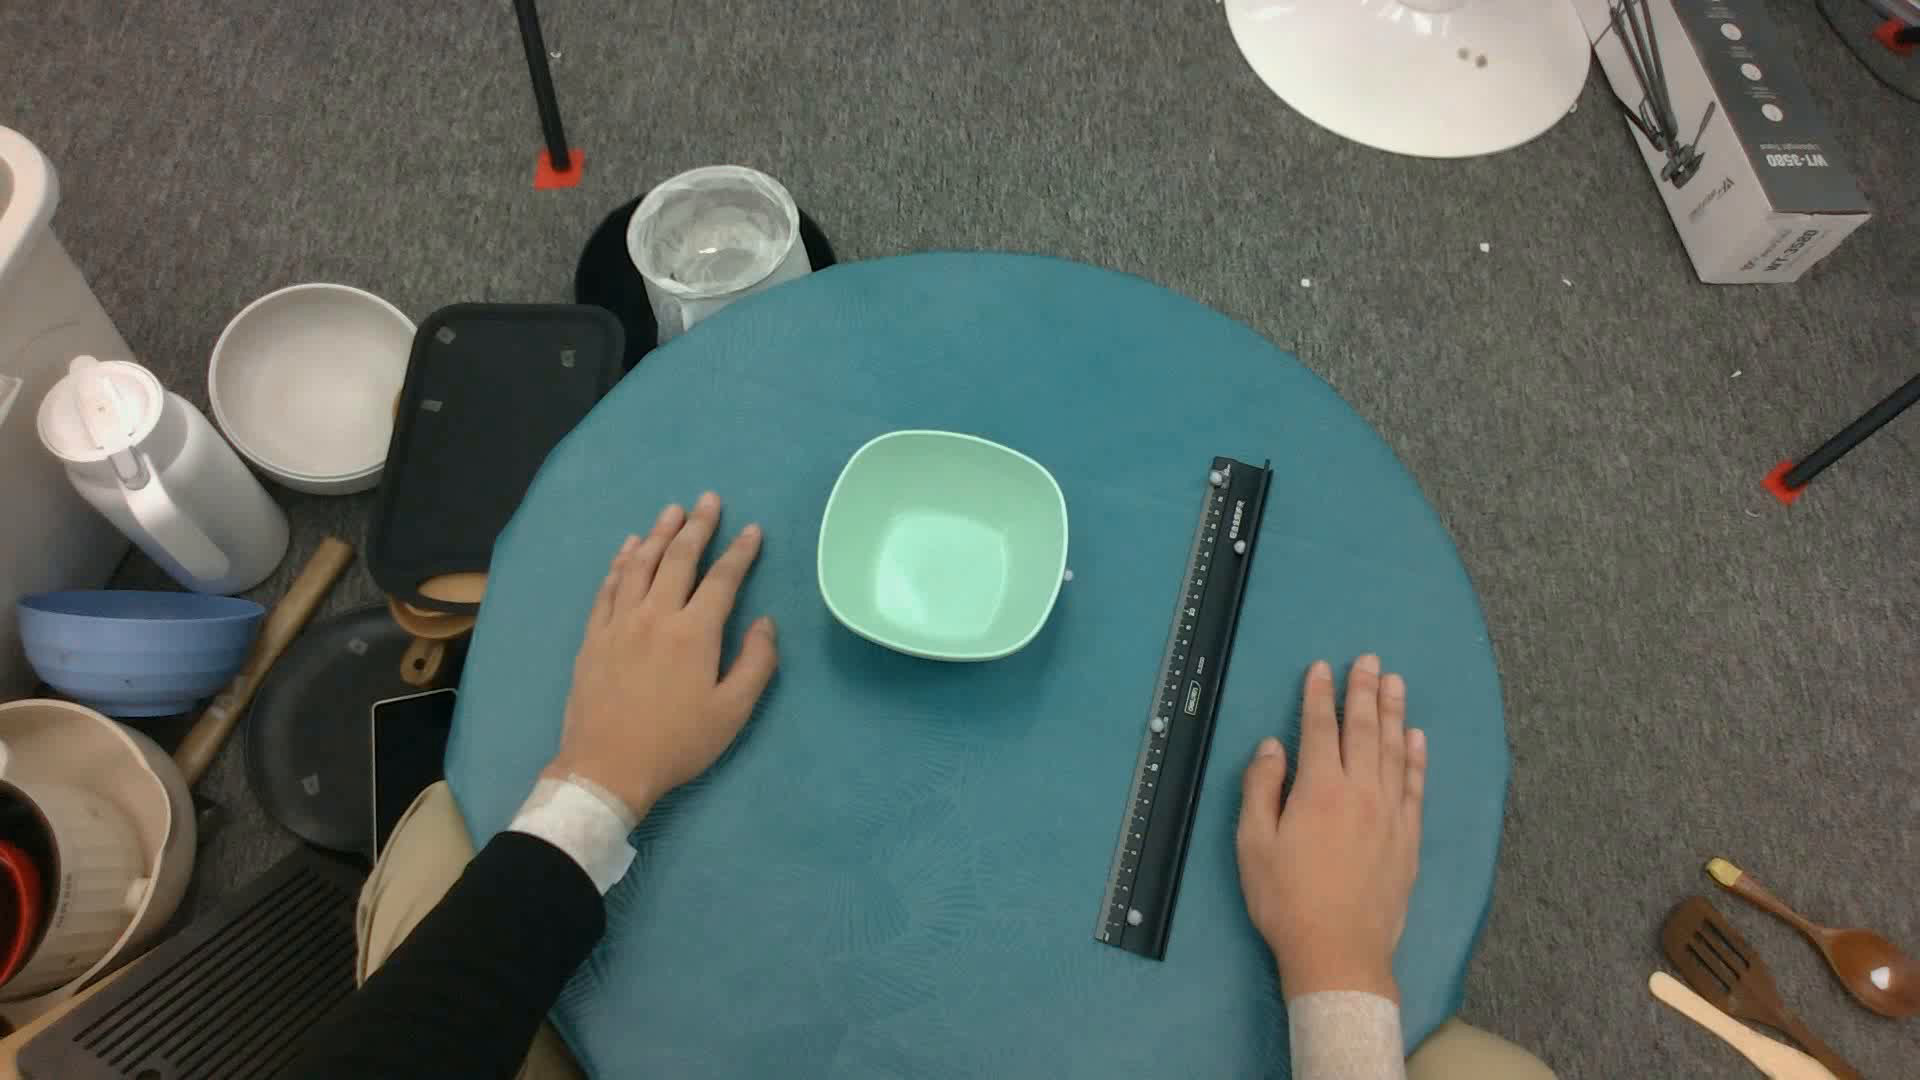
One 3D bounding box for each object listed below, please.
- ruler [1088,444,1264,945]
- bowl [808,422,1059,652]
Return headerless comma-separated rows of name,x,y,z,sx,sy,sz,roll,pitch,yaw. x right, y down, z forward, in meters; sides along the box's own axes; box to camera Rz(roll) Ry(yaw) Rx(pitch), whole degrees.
ruler,0.130,0.074,0.796,0.039,0.017,0.314,15,64,6
bowl,-0.016,0.007,0.793,0.151,0.058,0.152,3,63,-5
